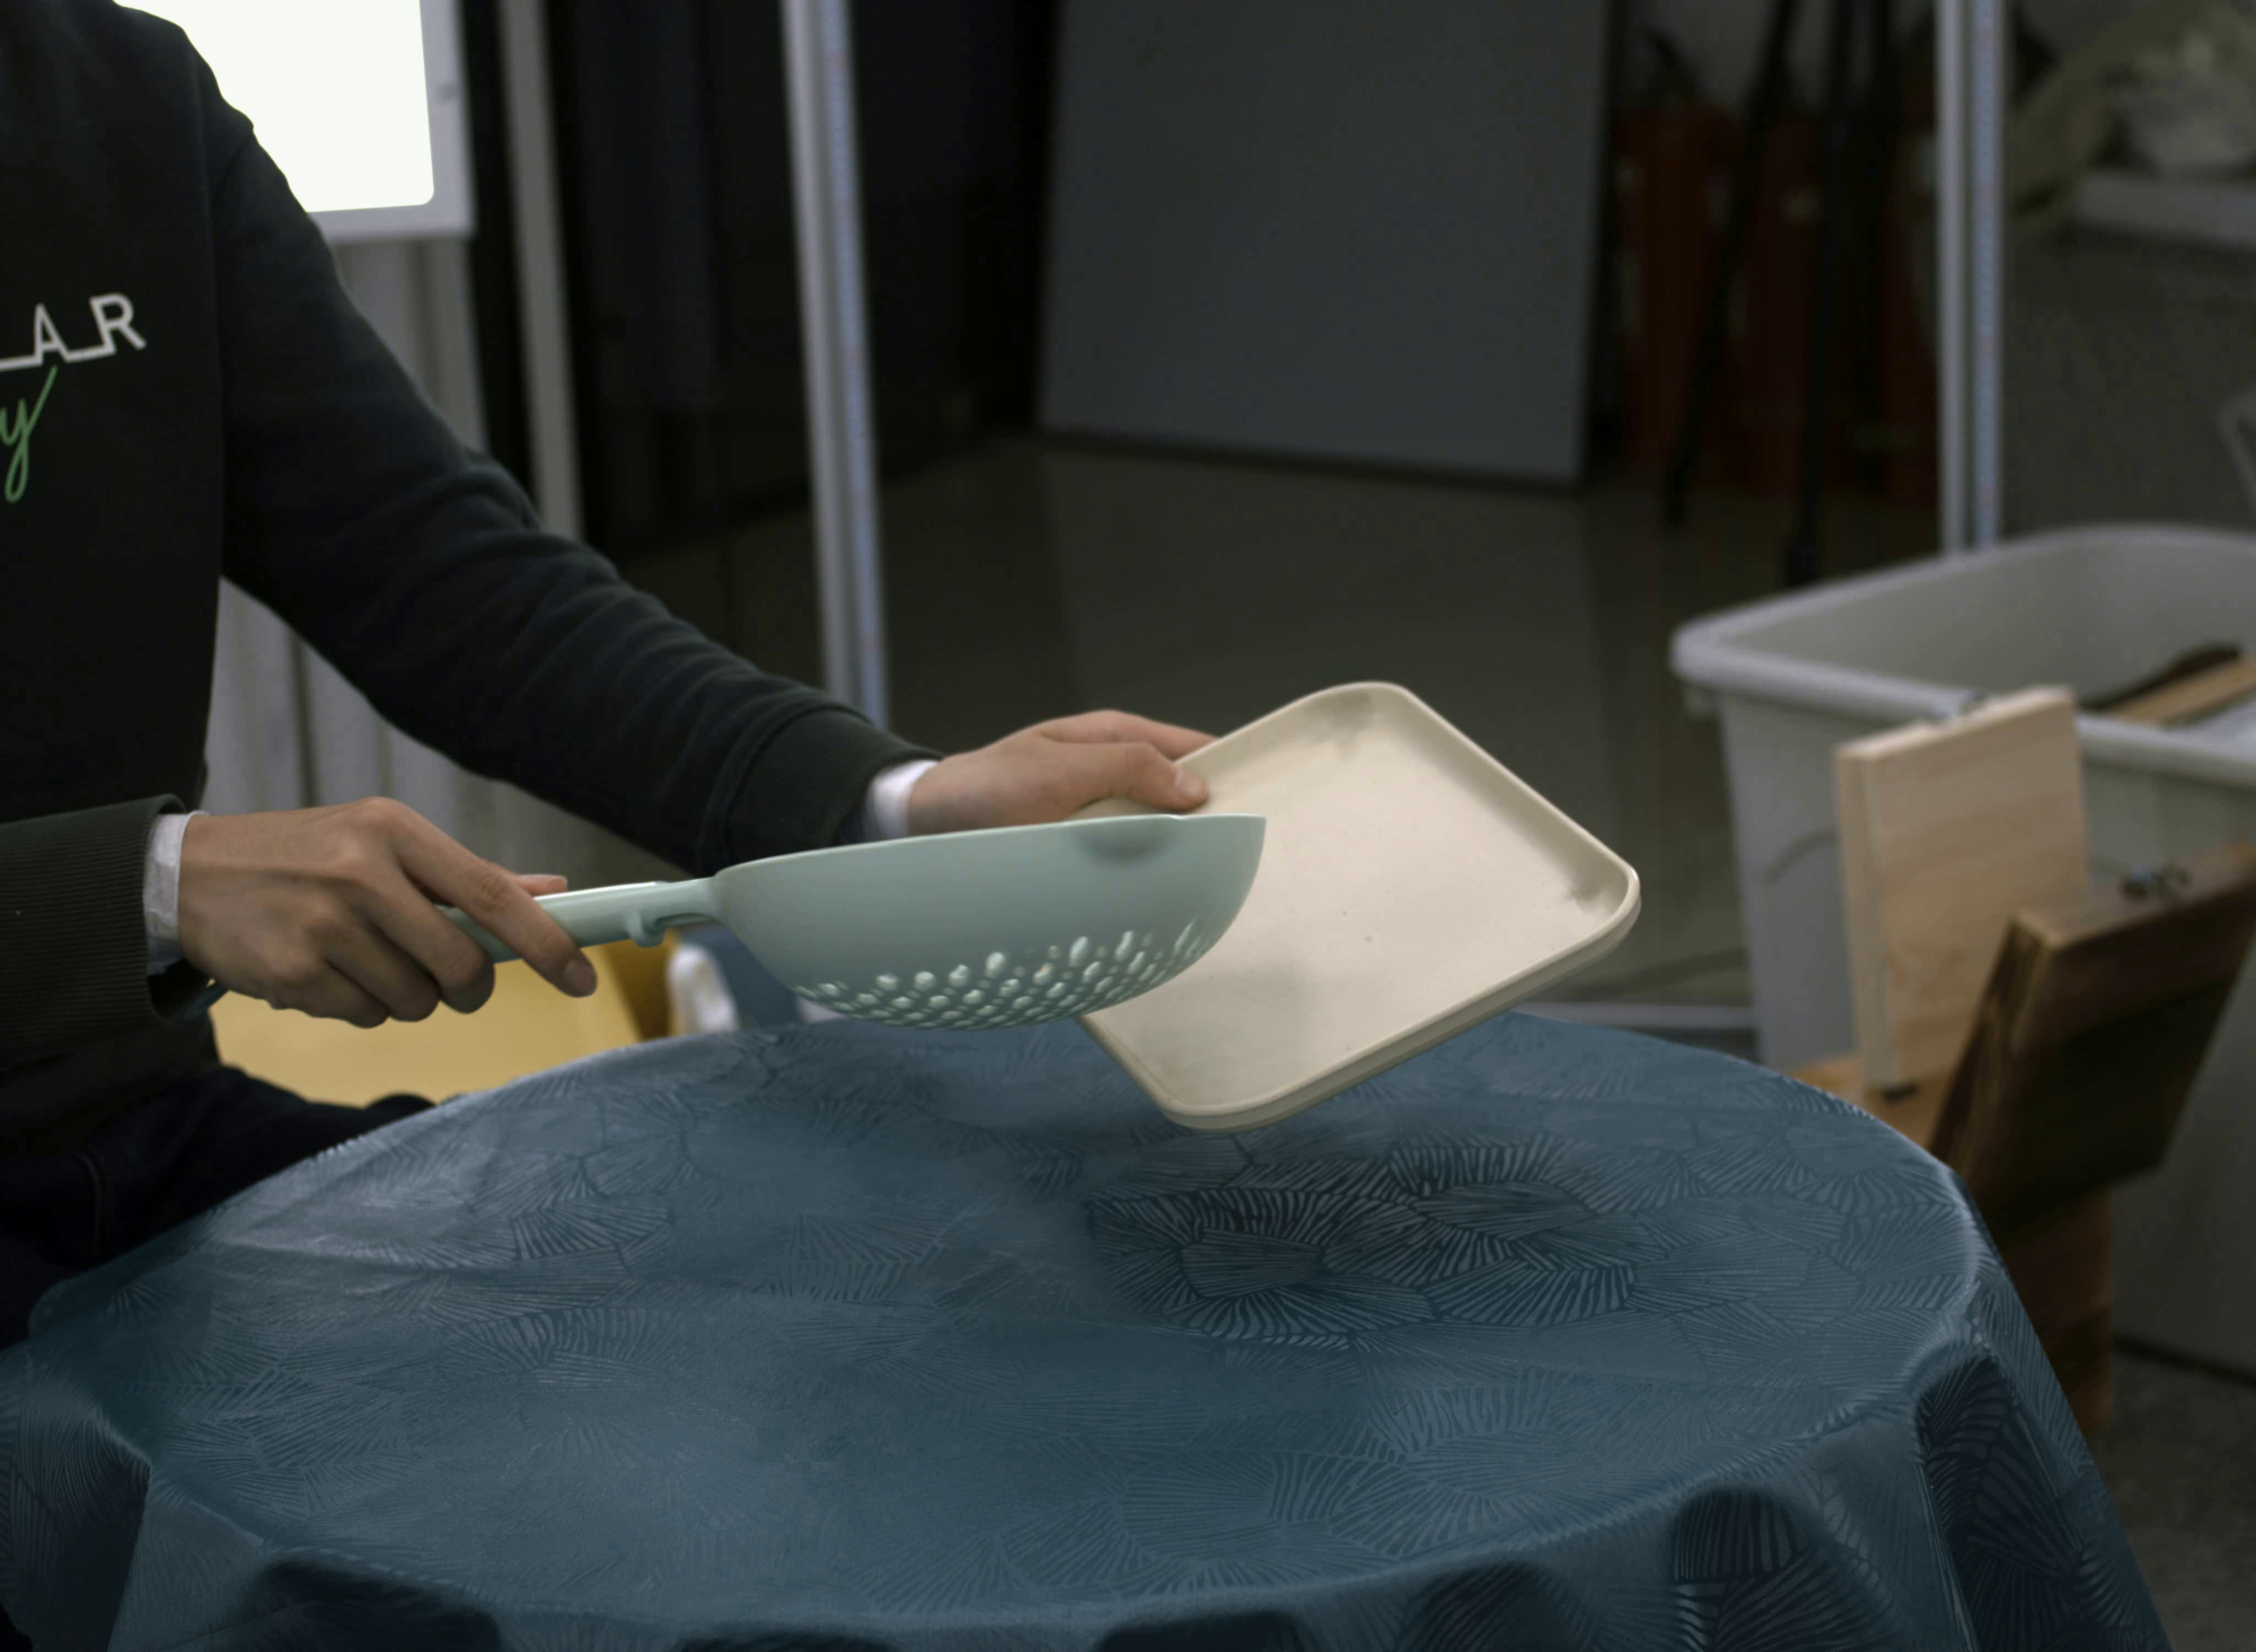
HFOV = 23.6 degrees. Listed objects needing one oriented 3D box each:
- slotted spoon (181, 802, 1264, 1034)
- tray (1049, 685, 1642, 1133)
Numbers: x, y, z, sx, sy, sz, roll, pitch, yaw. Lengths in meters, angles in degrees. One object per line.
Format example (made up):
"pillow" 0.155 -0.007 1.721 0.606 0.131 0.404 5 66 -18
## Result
"slotted spoon" -0.132 0.029 1.676 0.358 0.076 0.167 1 -3 19
"tray" 0.055 0.025 1.744 0.169 0.017 0.242 -27 25 -10
